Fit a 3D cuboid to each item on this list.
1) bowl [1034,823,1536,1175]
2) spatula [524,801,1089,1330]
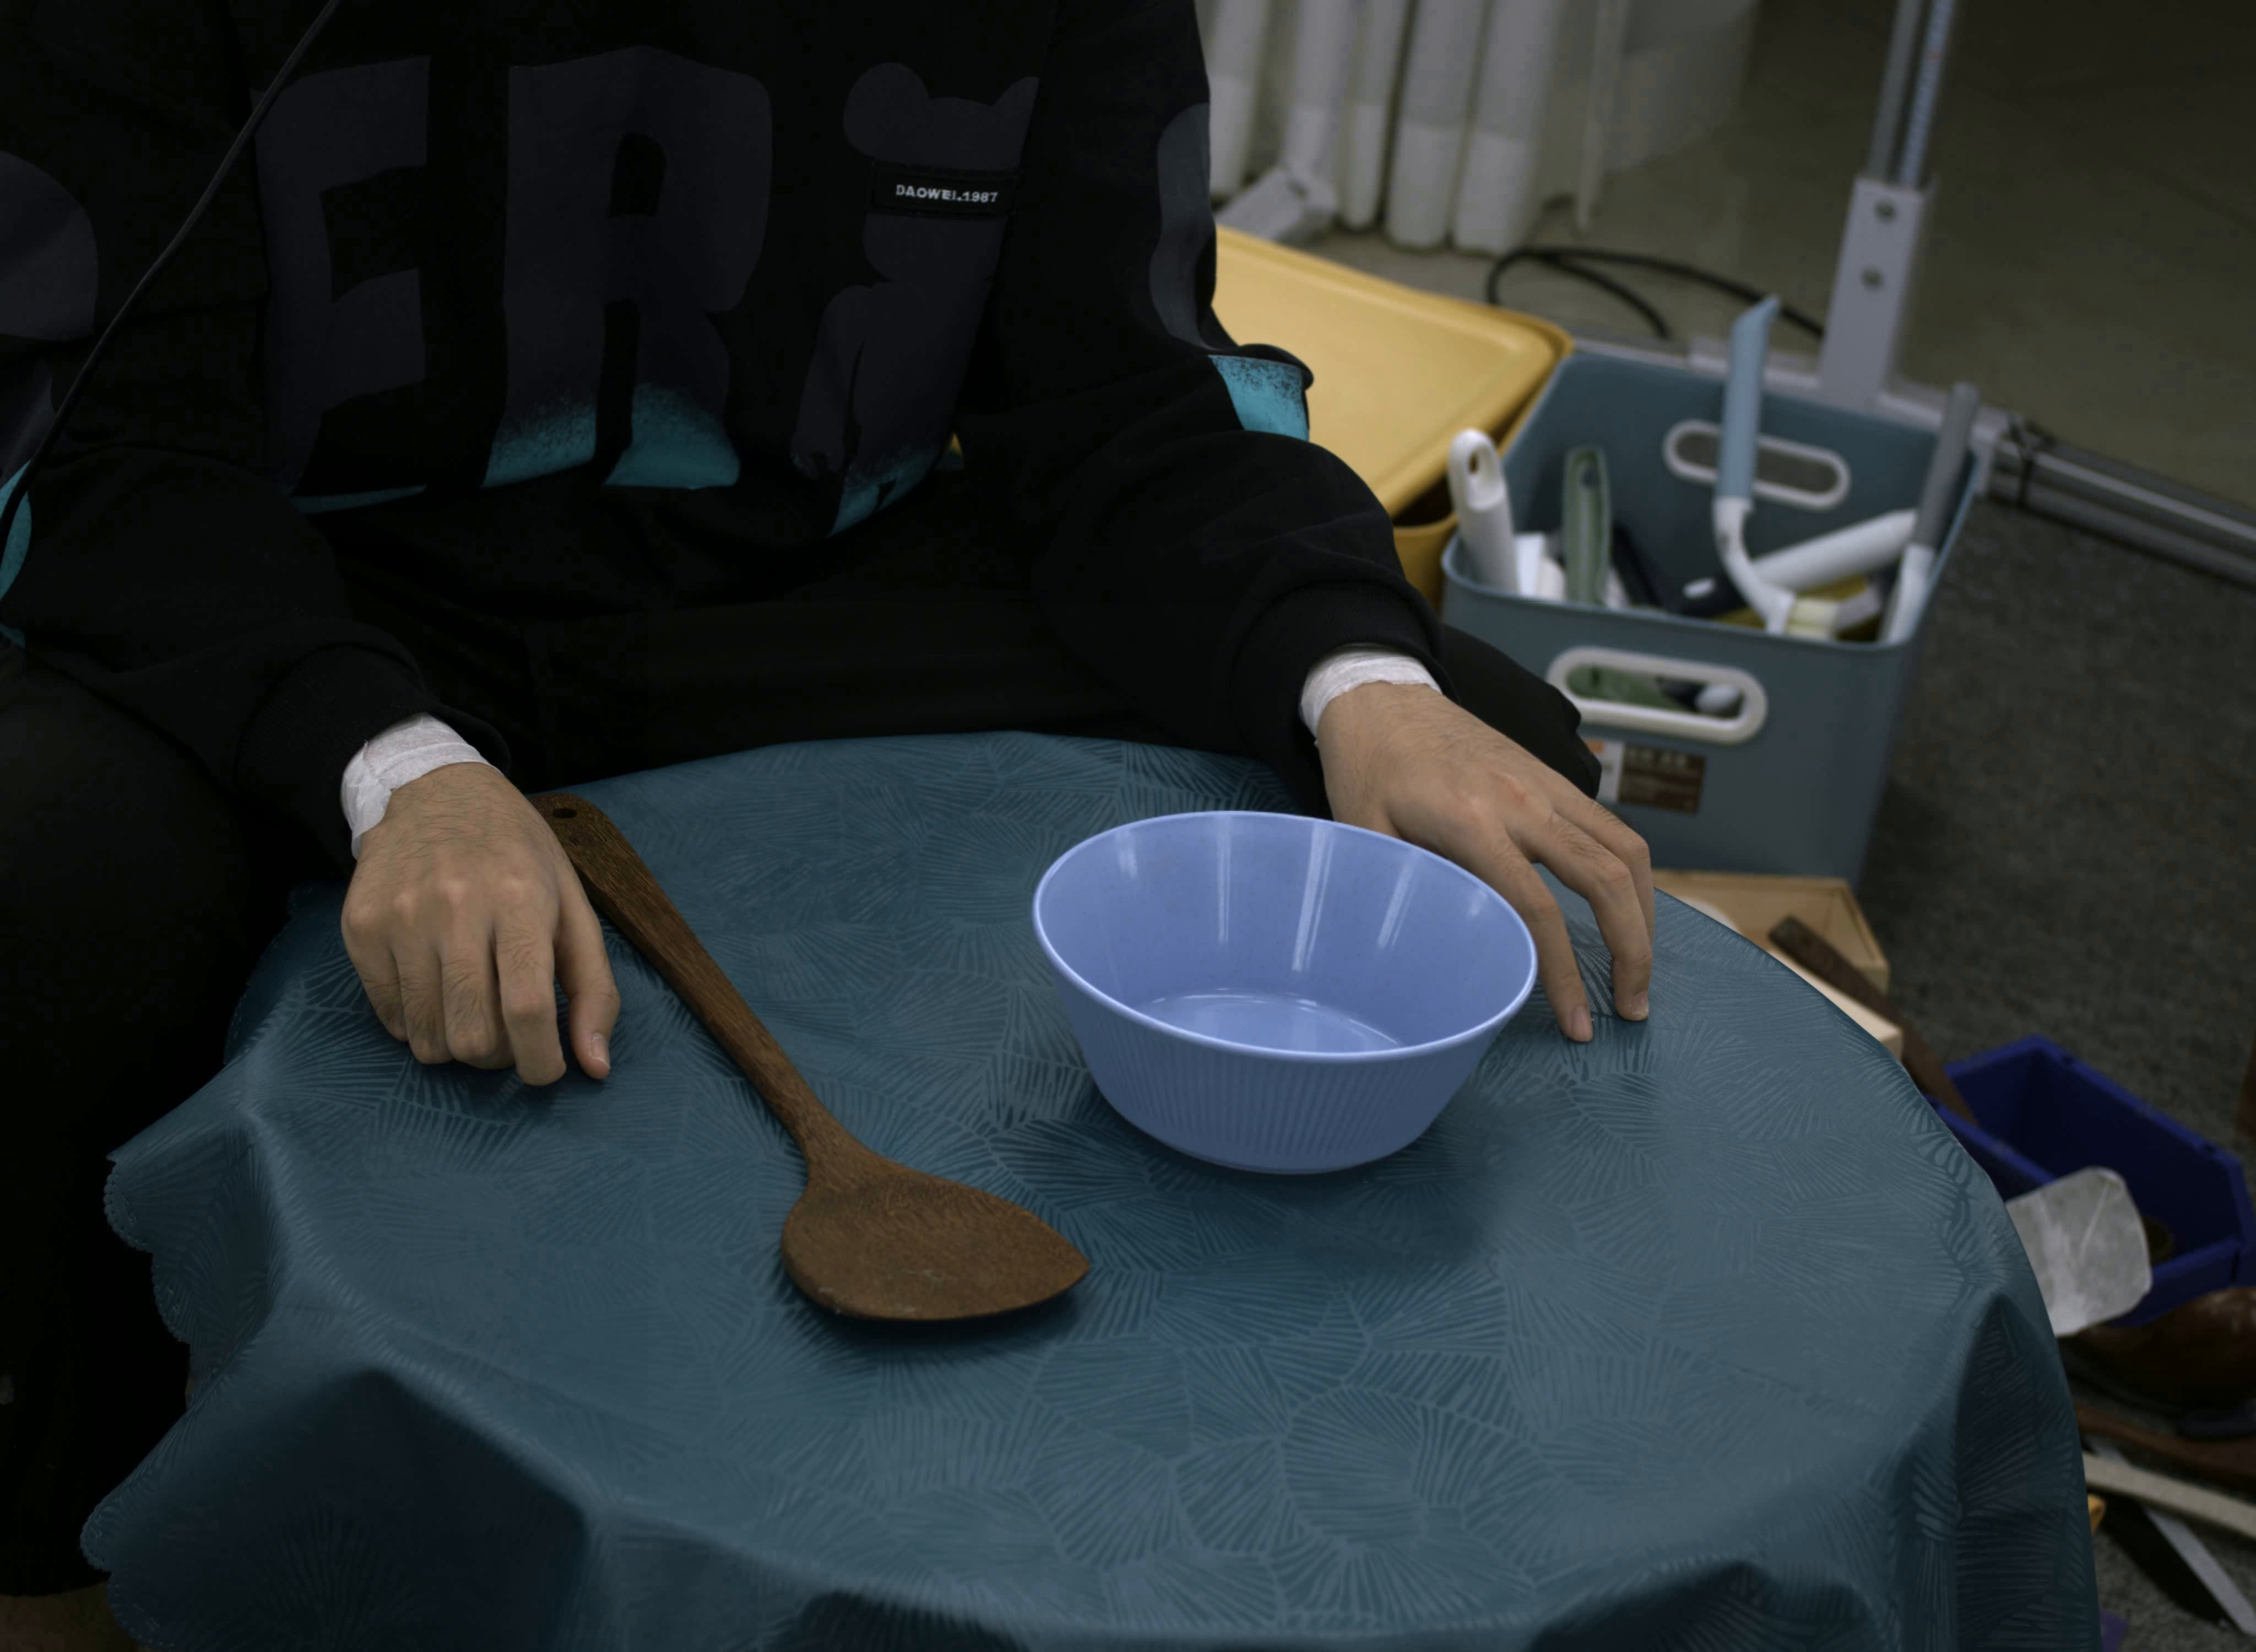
[{"bbox_3d":[0.051,0.066,1.850,0.175,0.070,0.177,5,25,-3],"label":"bowl"},{"bbox_3d":[-0.133,0.075,1.852,0.095,0.016,0.389,-7,29,-26],"label":"spatula"}]
